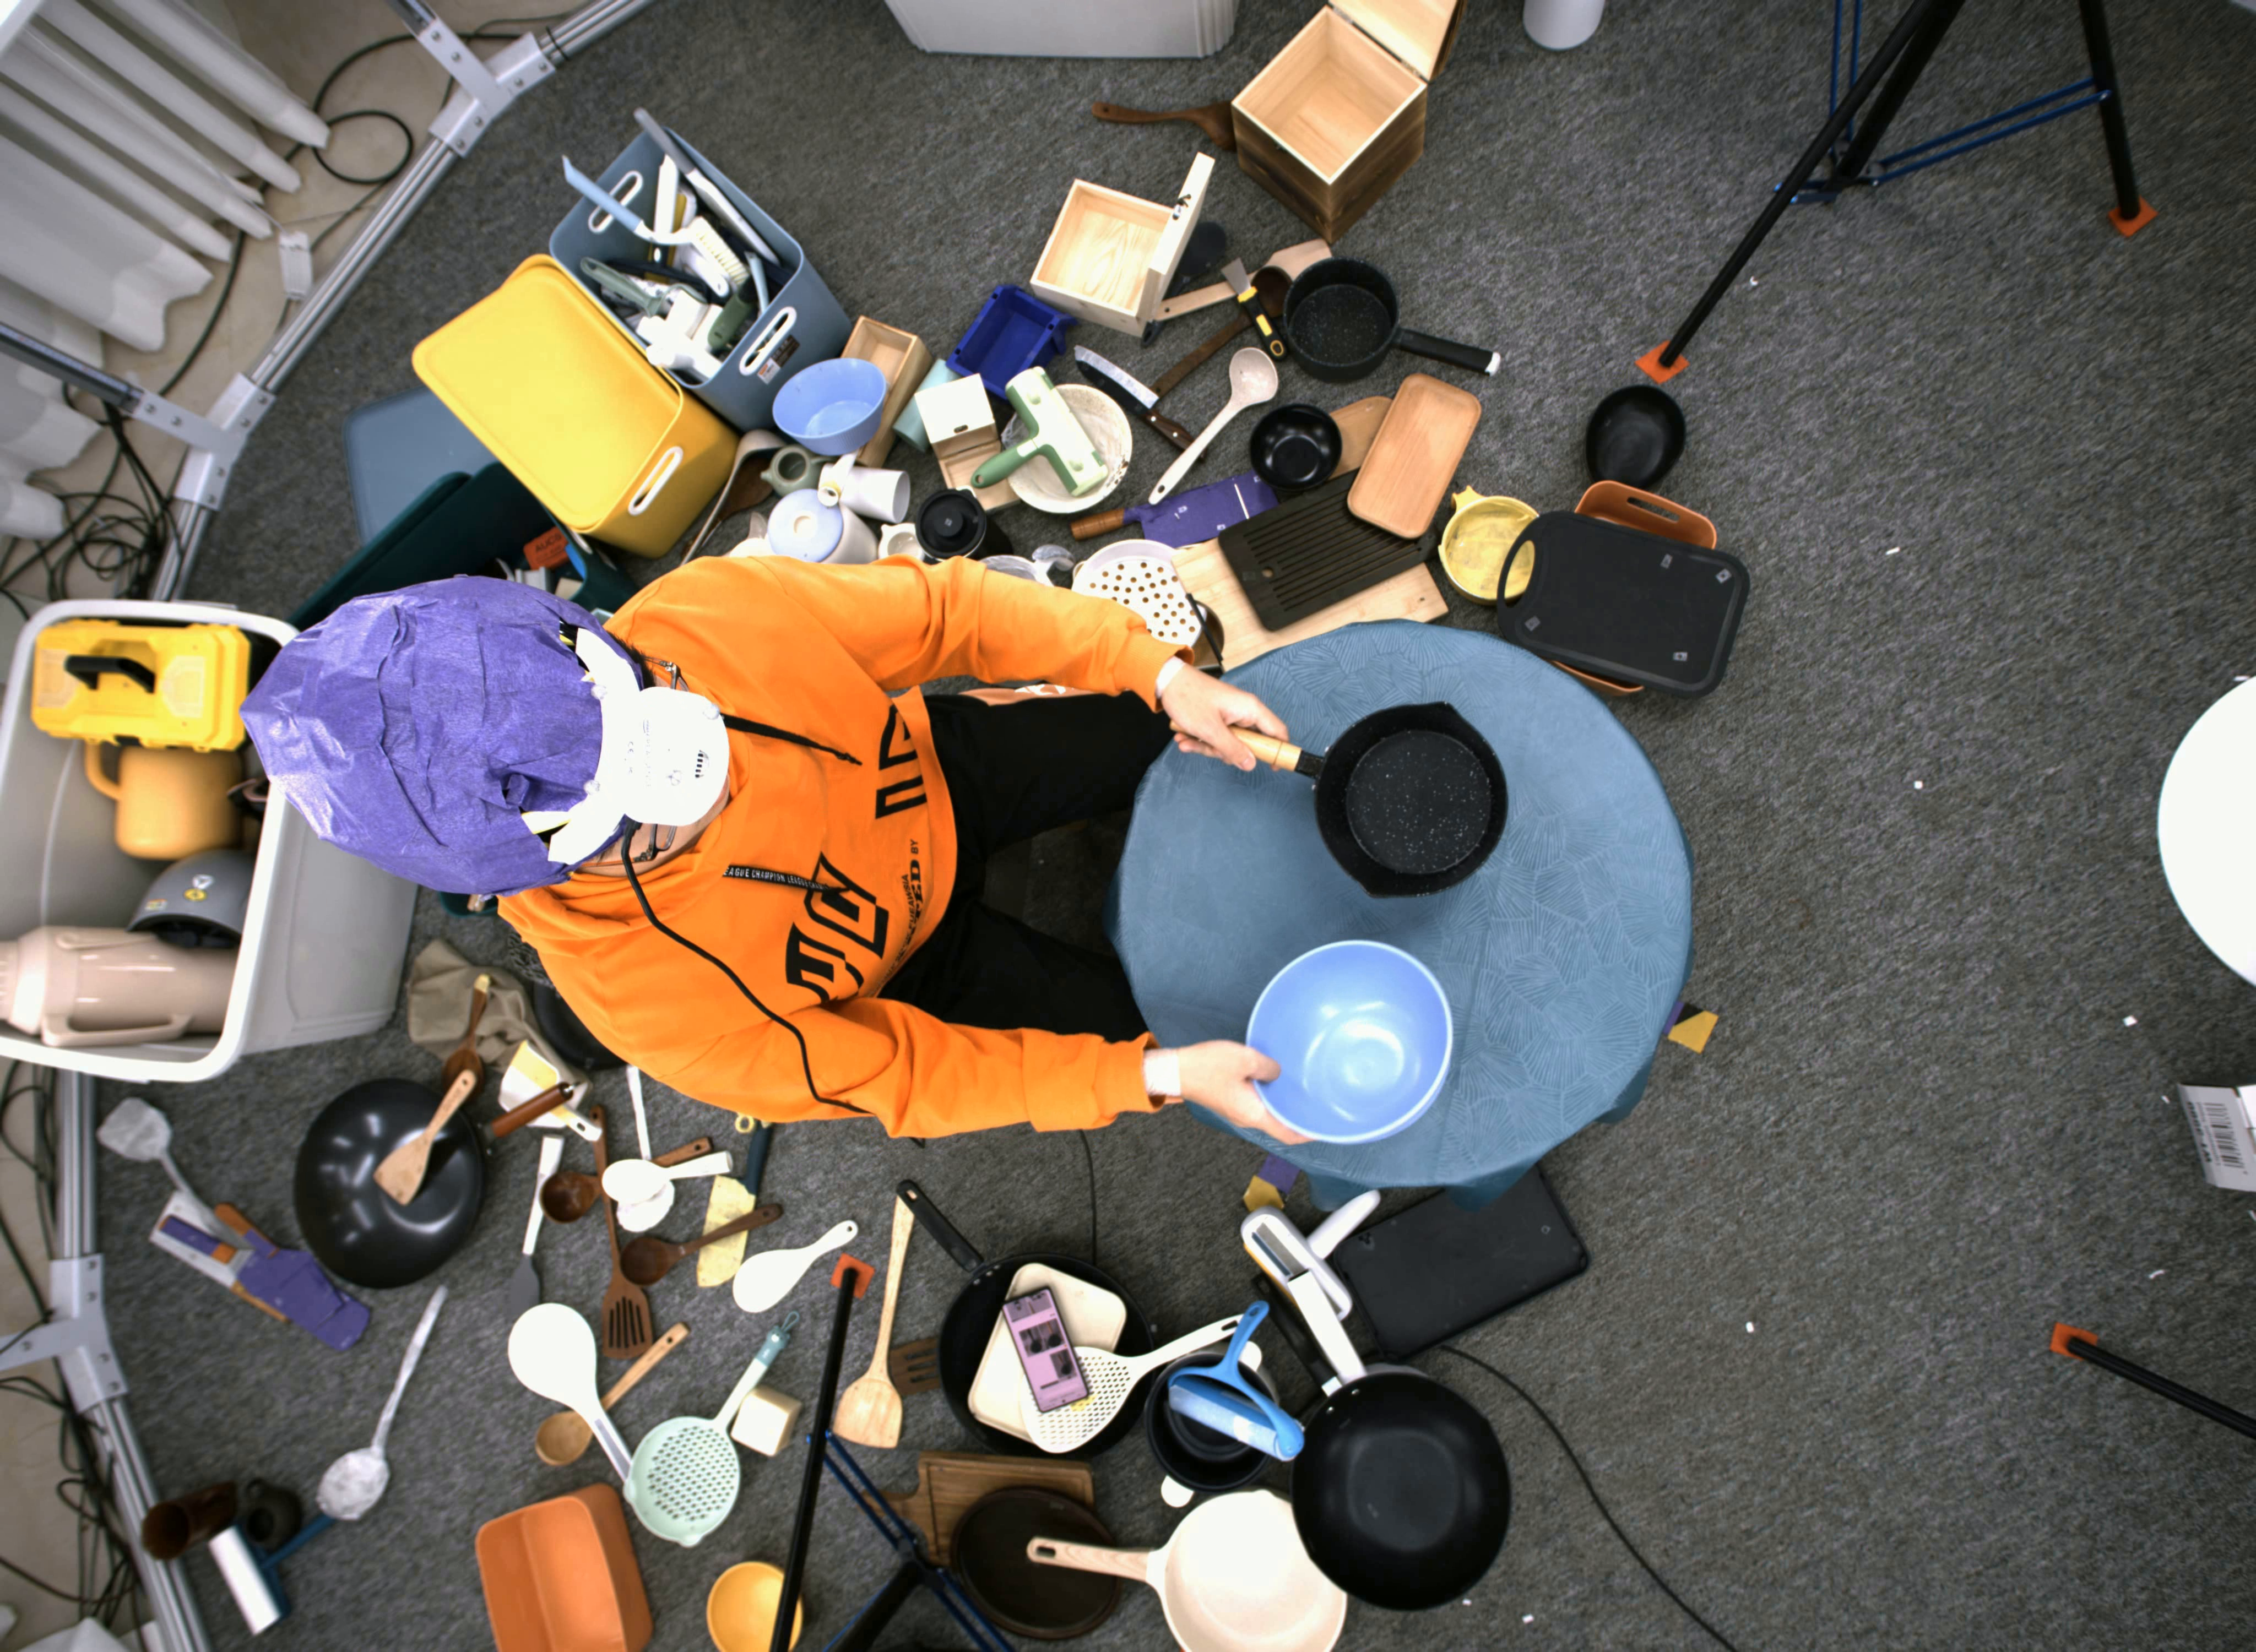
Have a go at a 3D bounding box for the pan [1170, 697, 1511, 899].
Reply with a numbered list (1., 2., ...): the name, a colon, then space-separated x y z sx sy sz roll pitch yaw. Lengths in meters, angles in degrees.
1. pan: 0.208 -0.051 1.364 0.343 0.107 0.209 20 99 15

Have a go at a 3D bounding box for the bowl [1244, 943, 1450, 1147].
1. bowl: 0.218 0.218 1.328 0.198 0.096 0.192 -10 65 20
